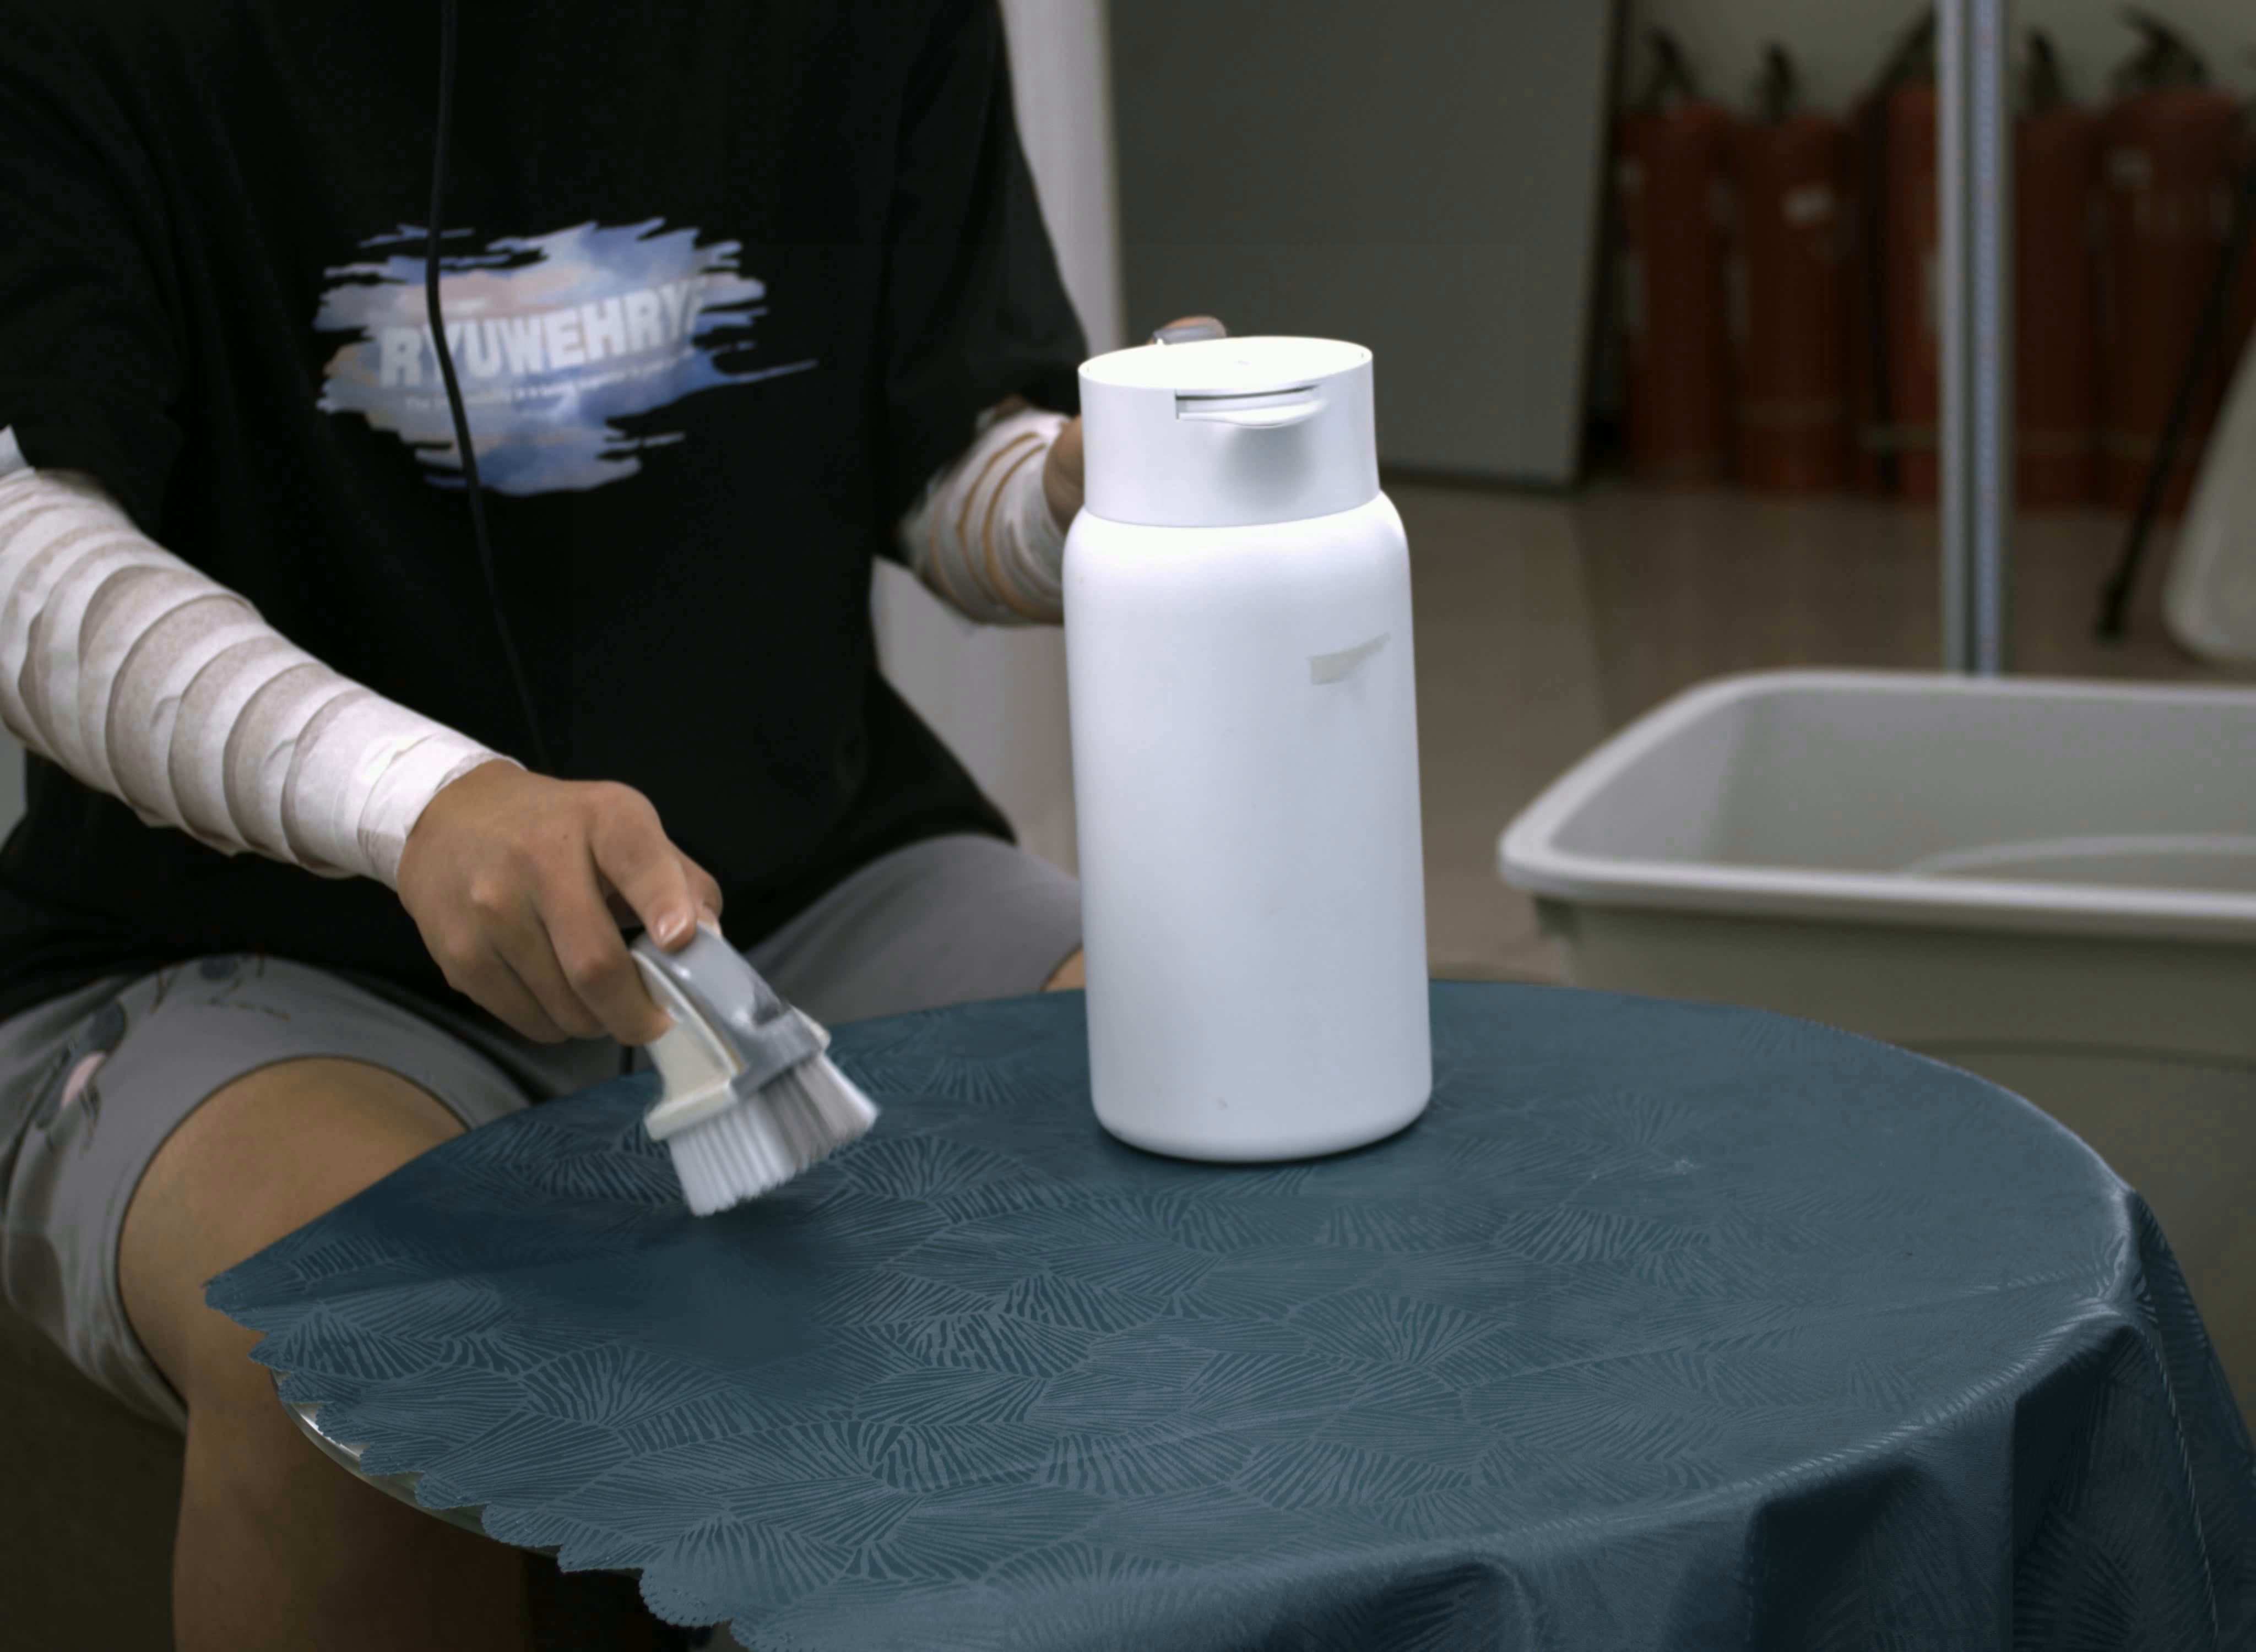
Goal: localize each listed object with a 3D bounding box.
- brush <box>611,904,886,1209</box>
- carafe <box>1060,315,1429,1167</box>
[{"bbox_3d":[-0.123,0.065,1.711,0.061,0.094,0.176,-36,2,-14],"label":"brush"},{"bbox_3d":[0.033,-0.032,1.825,0.121,0.272,0.174,-8,13,-12],"label":"carafe"}]
